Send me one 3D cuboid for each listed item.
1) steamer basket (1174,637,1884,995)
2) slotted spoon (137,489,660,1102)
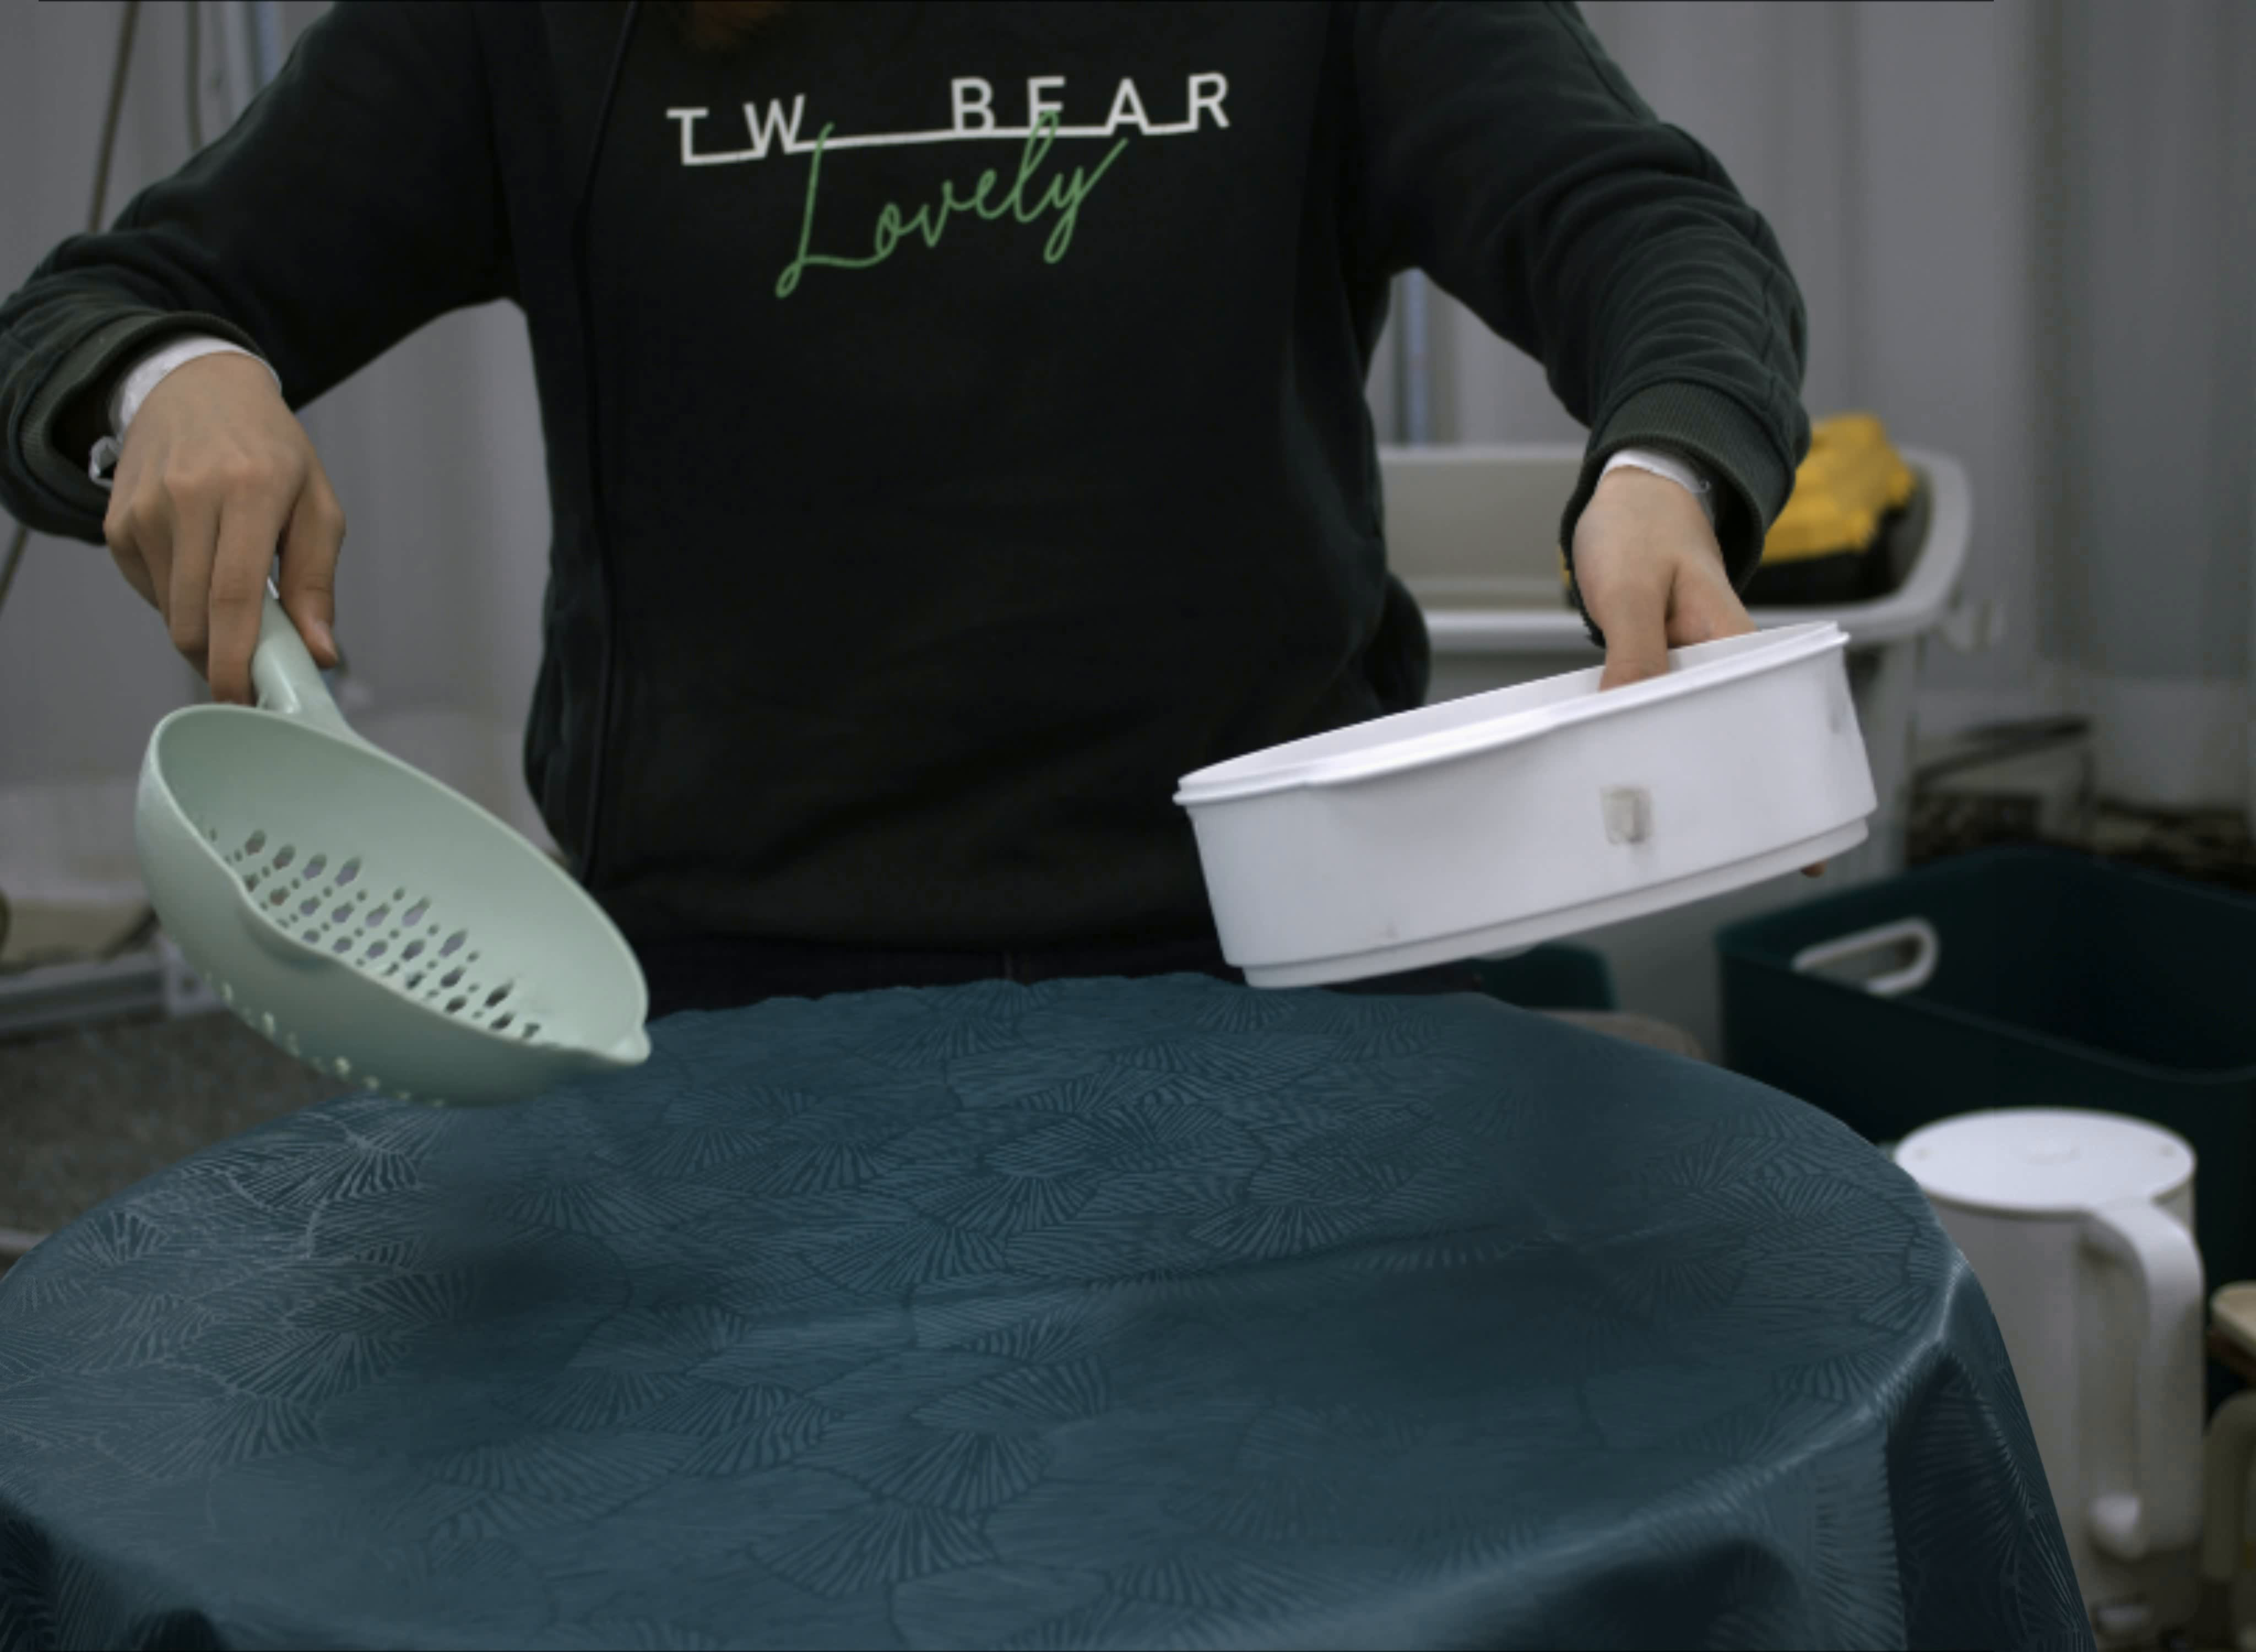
[{"bbox_3d":[0.117,-0.001,1.573,0.201,0.069,0.230,-12,3,18],"label":"steamer basket"},{"bbox_3d":[-0.255,-0.027,1.708,0.167,0.075,0.364,24,26,-33],"label":"slotted spoon"}]
